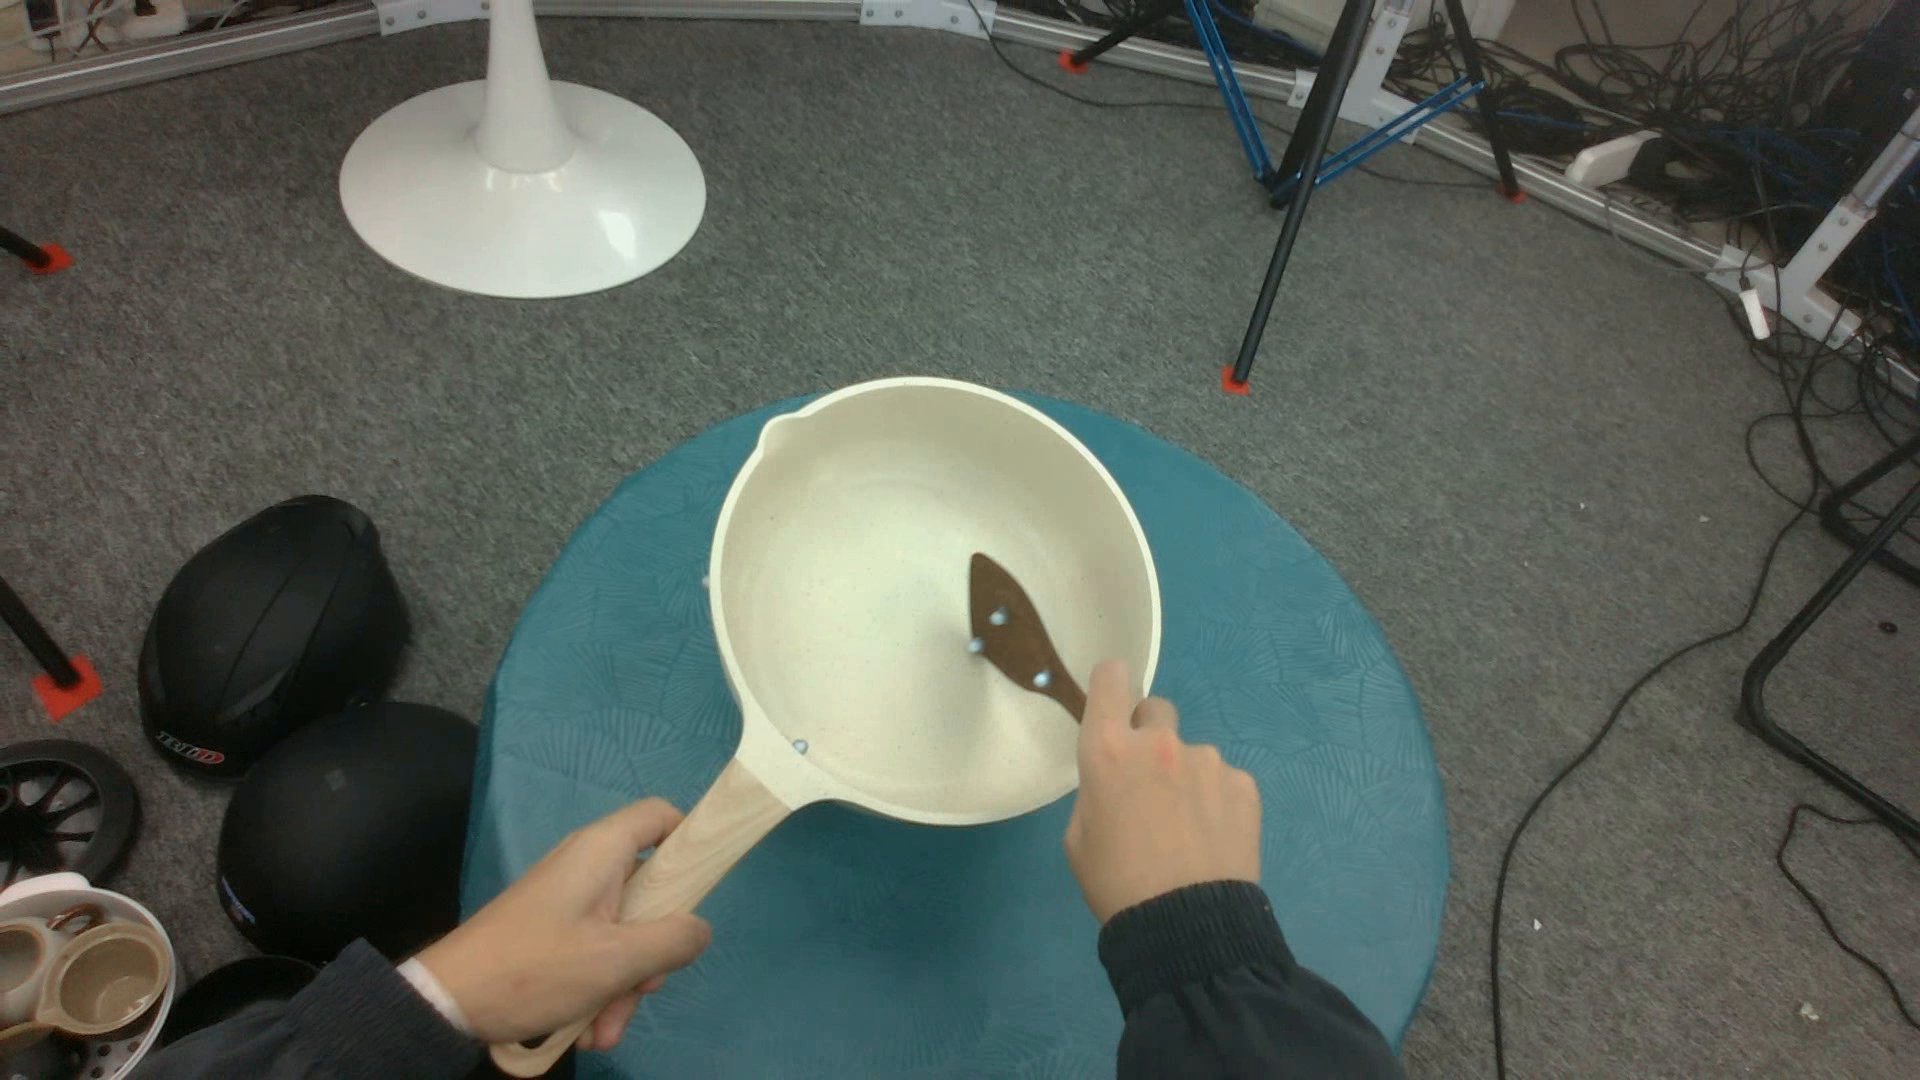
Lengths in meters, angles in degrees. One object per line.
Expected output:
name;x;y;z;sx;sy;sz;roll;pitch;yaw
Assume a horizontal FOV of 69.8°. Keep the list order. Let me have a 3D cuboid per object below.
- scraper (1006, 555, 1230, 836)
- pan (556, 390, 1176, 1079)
scraper;0.080;0.084;0.736;0.011;0.075;0.211;-18;37;-21
pan;-0.060;0.106;0.737;0.263;0.101;0.437;39;64;2
